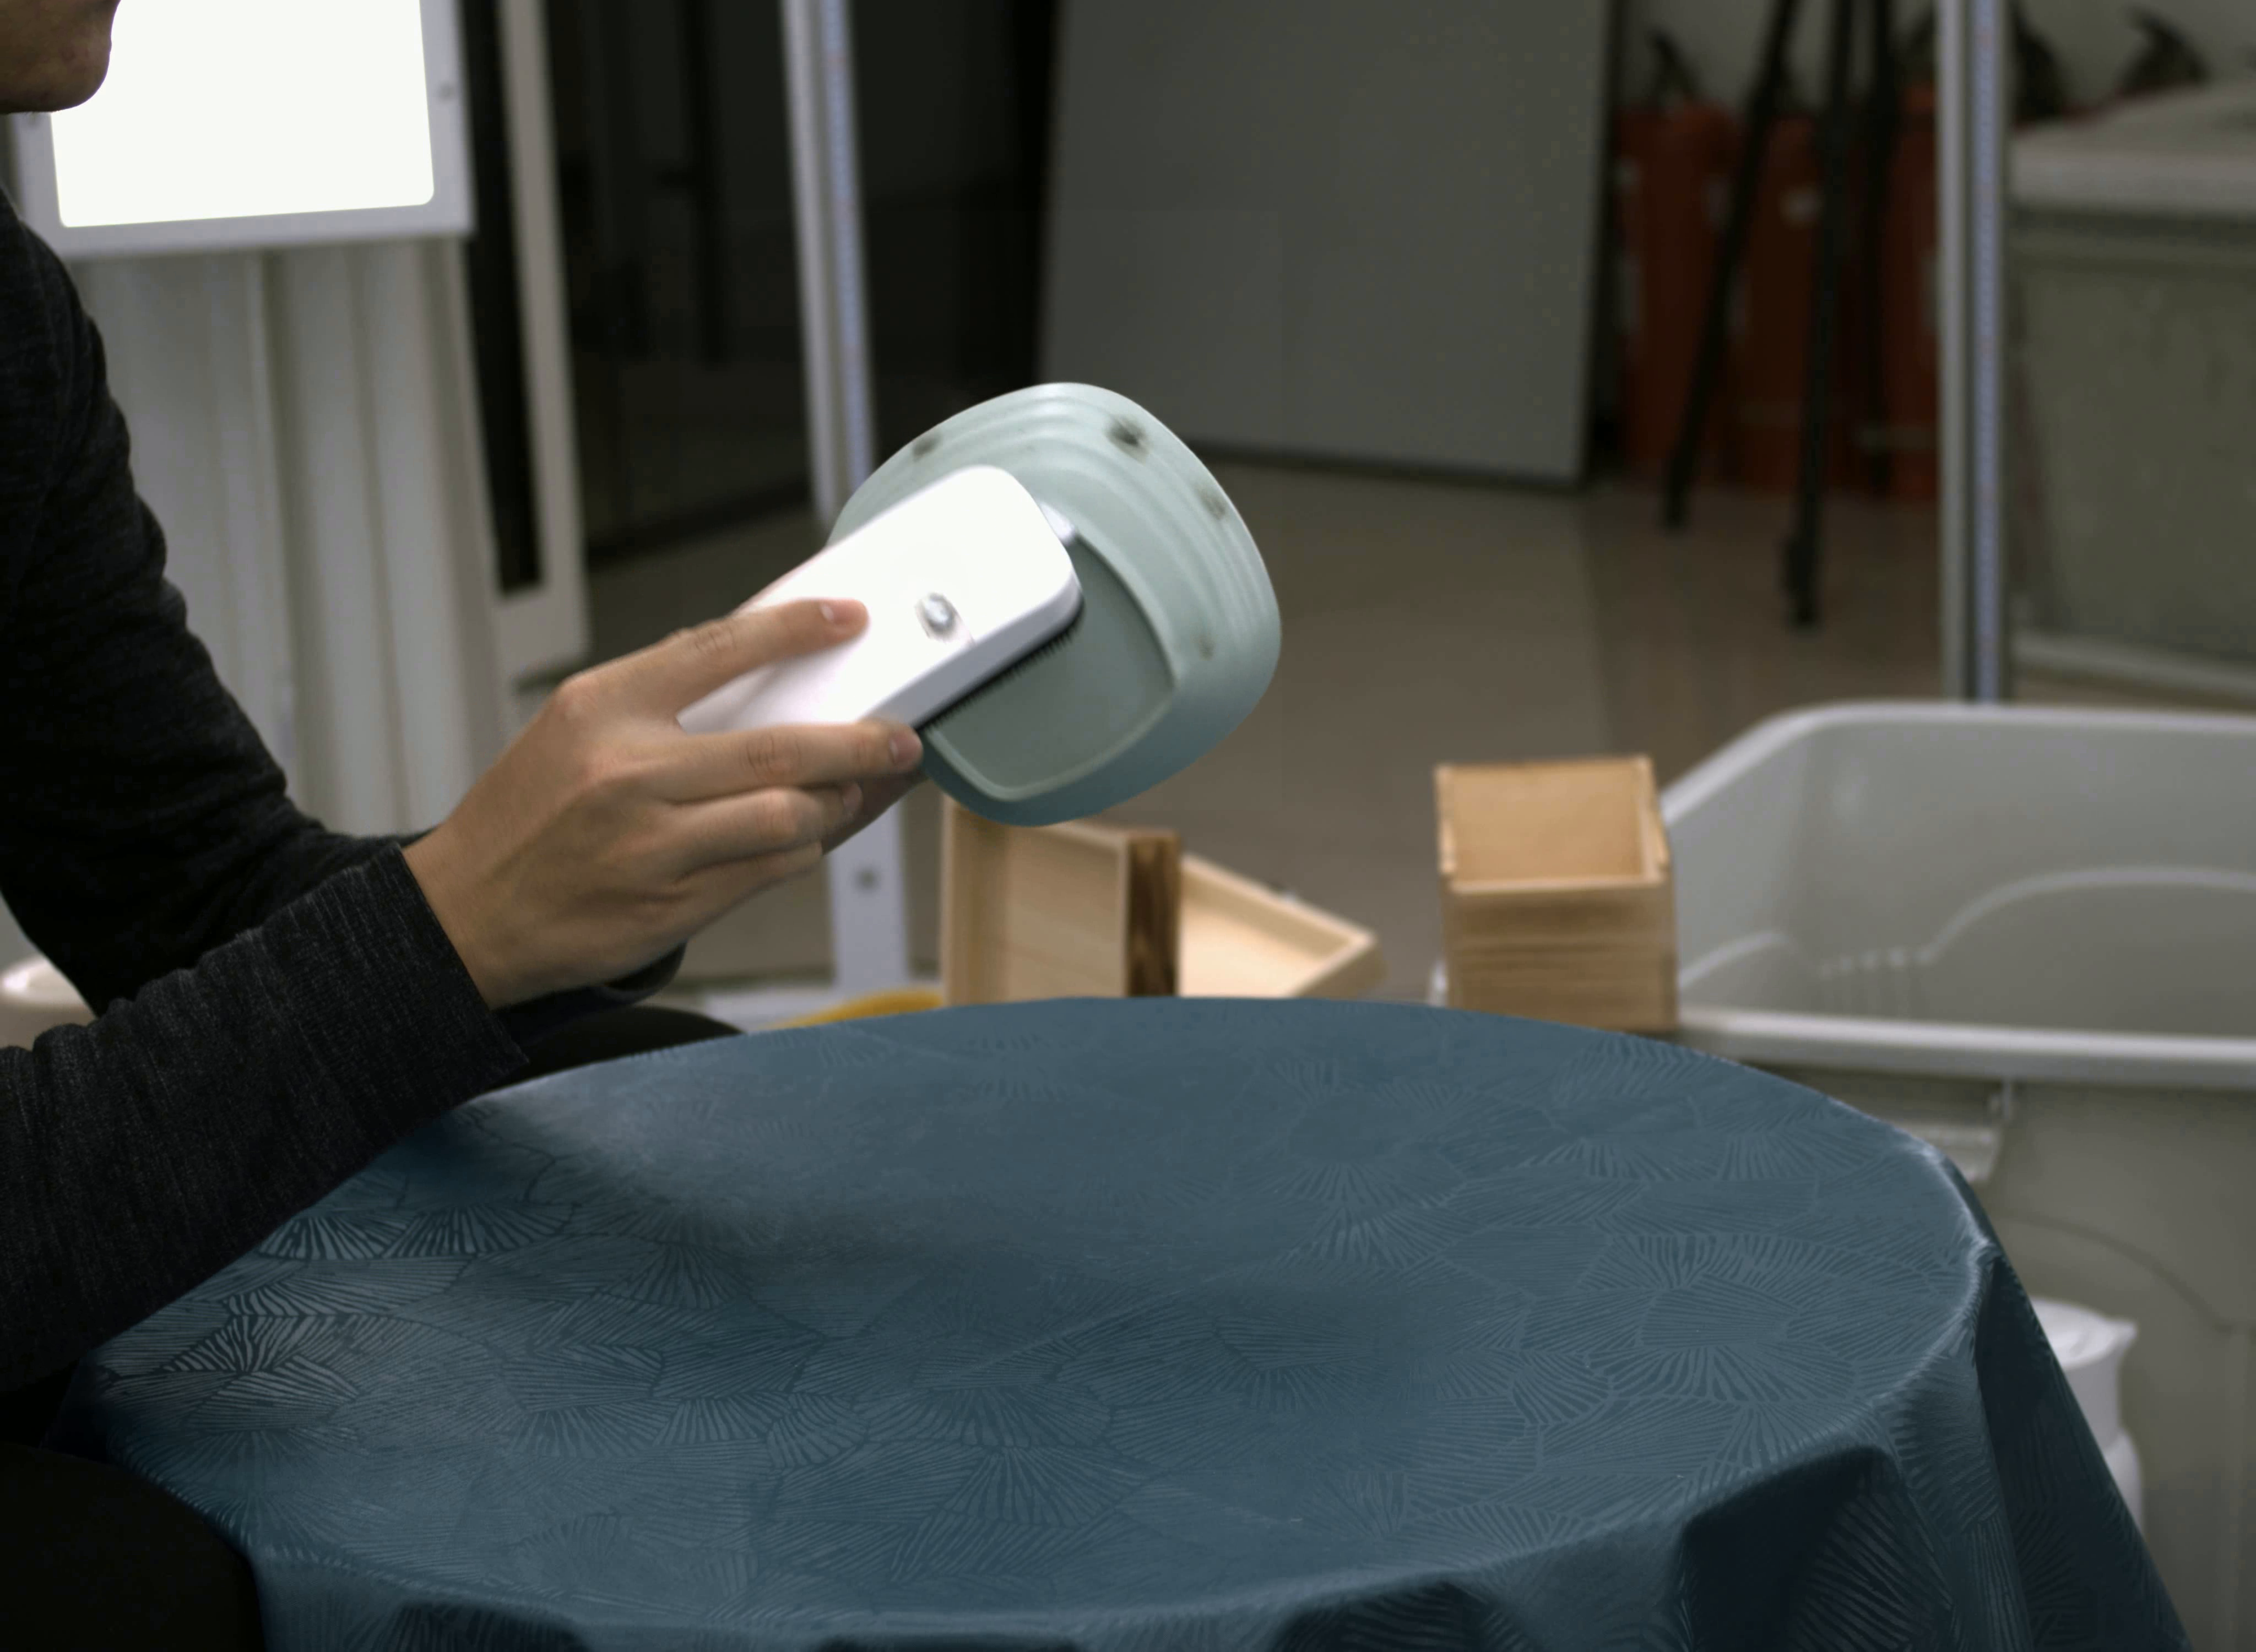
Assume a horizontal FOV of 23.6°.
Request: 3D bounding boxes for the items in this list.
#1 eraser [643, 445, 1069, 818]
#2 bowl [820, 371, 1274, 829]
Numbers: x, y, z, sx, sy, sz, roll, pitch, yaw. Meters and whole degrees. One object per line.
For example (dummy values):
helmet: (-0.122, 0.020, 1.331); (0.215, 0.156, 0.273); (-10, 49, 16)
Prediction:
eraser: (-0.082, -0.060, 1.608); (0.130, 0.034, 0.064); (-34, 51, 0)
bowl: (-0.031, -0.063, 1.697); (0.150, 0.153, 0.058); (0, 18, 13)
